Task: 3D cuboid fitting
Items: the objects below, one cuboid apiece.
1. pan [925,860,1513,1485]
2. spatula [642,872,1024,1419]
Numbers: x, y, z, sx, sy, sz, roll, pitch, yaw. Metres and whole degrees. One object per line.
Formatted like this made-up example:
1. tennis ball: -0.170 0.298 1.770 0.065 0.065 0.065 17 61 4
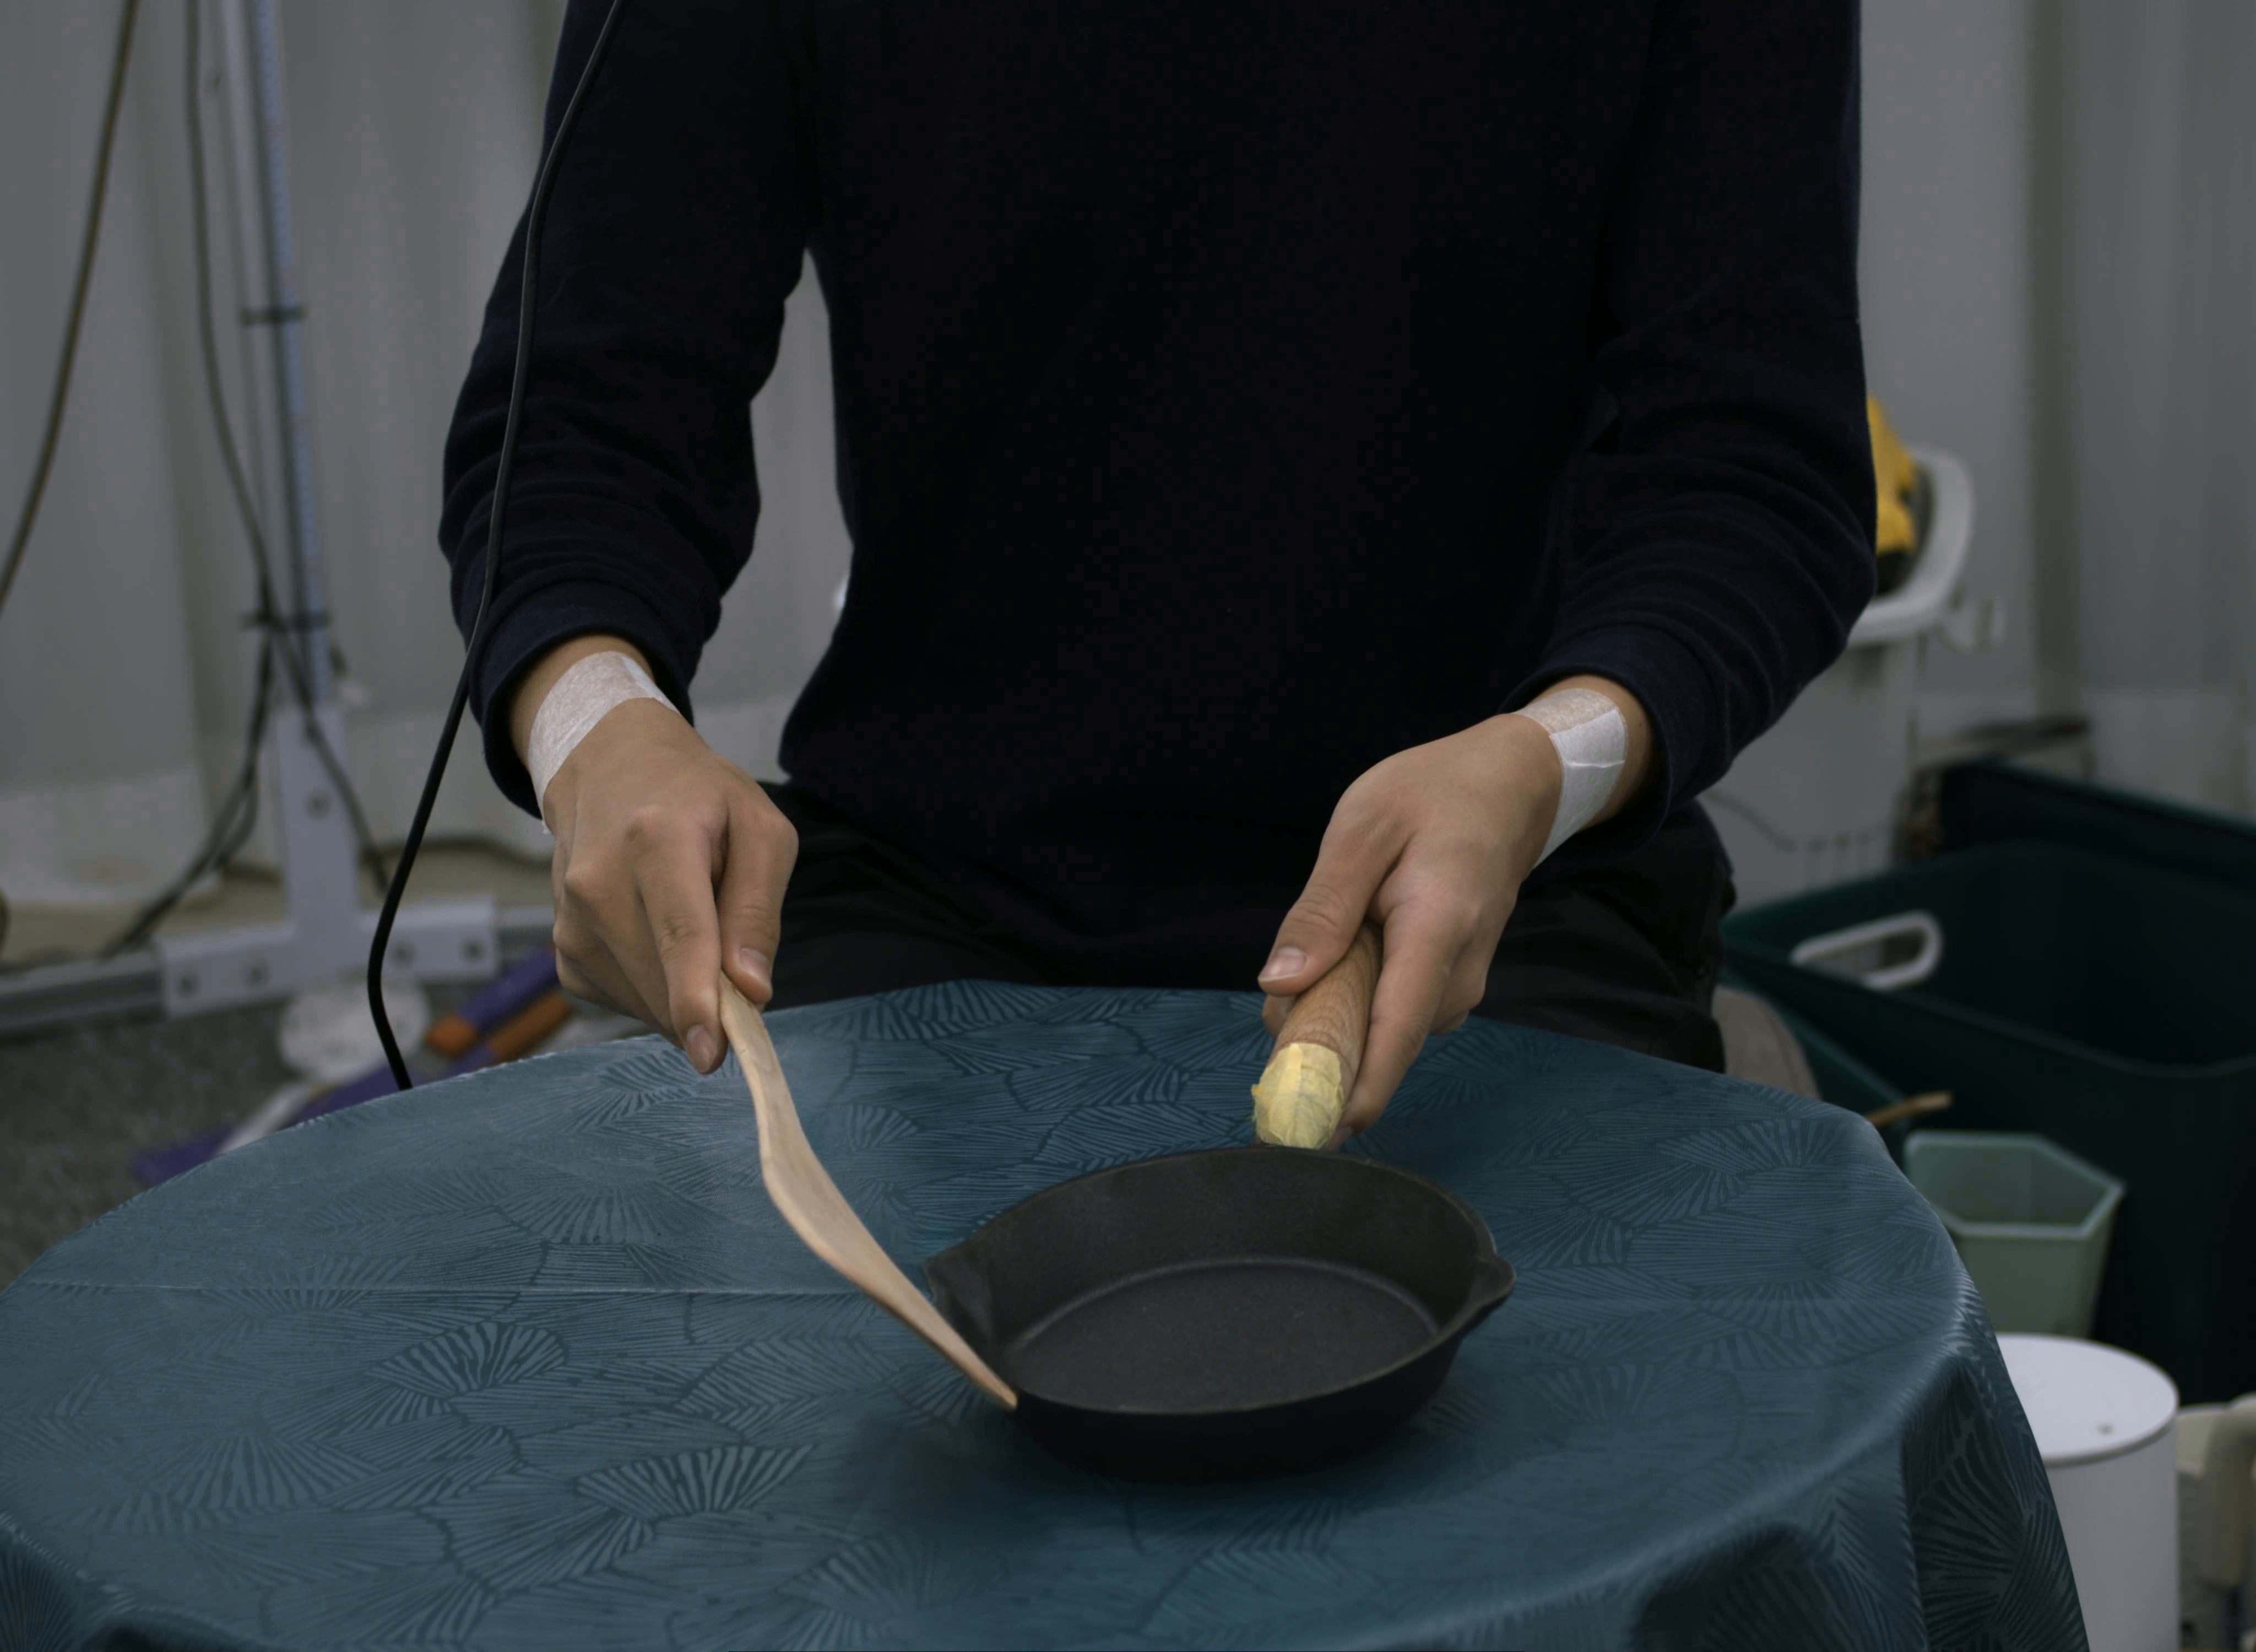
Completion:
1. pan: 0.047 0.097 1.598 0.169 0.049 0.327 1 25 16
2. spatula: -0.096 0.081 1.570 0.016 0.079 0.331 -45 28 5
